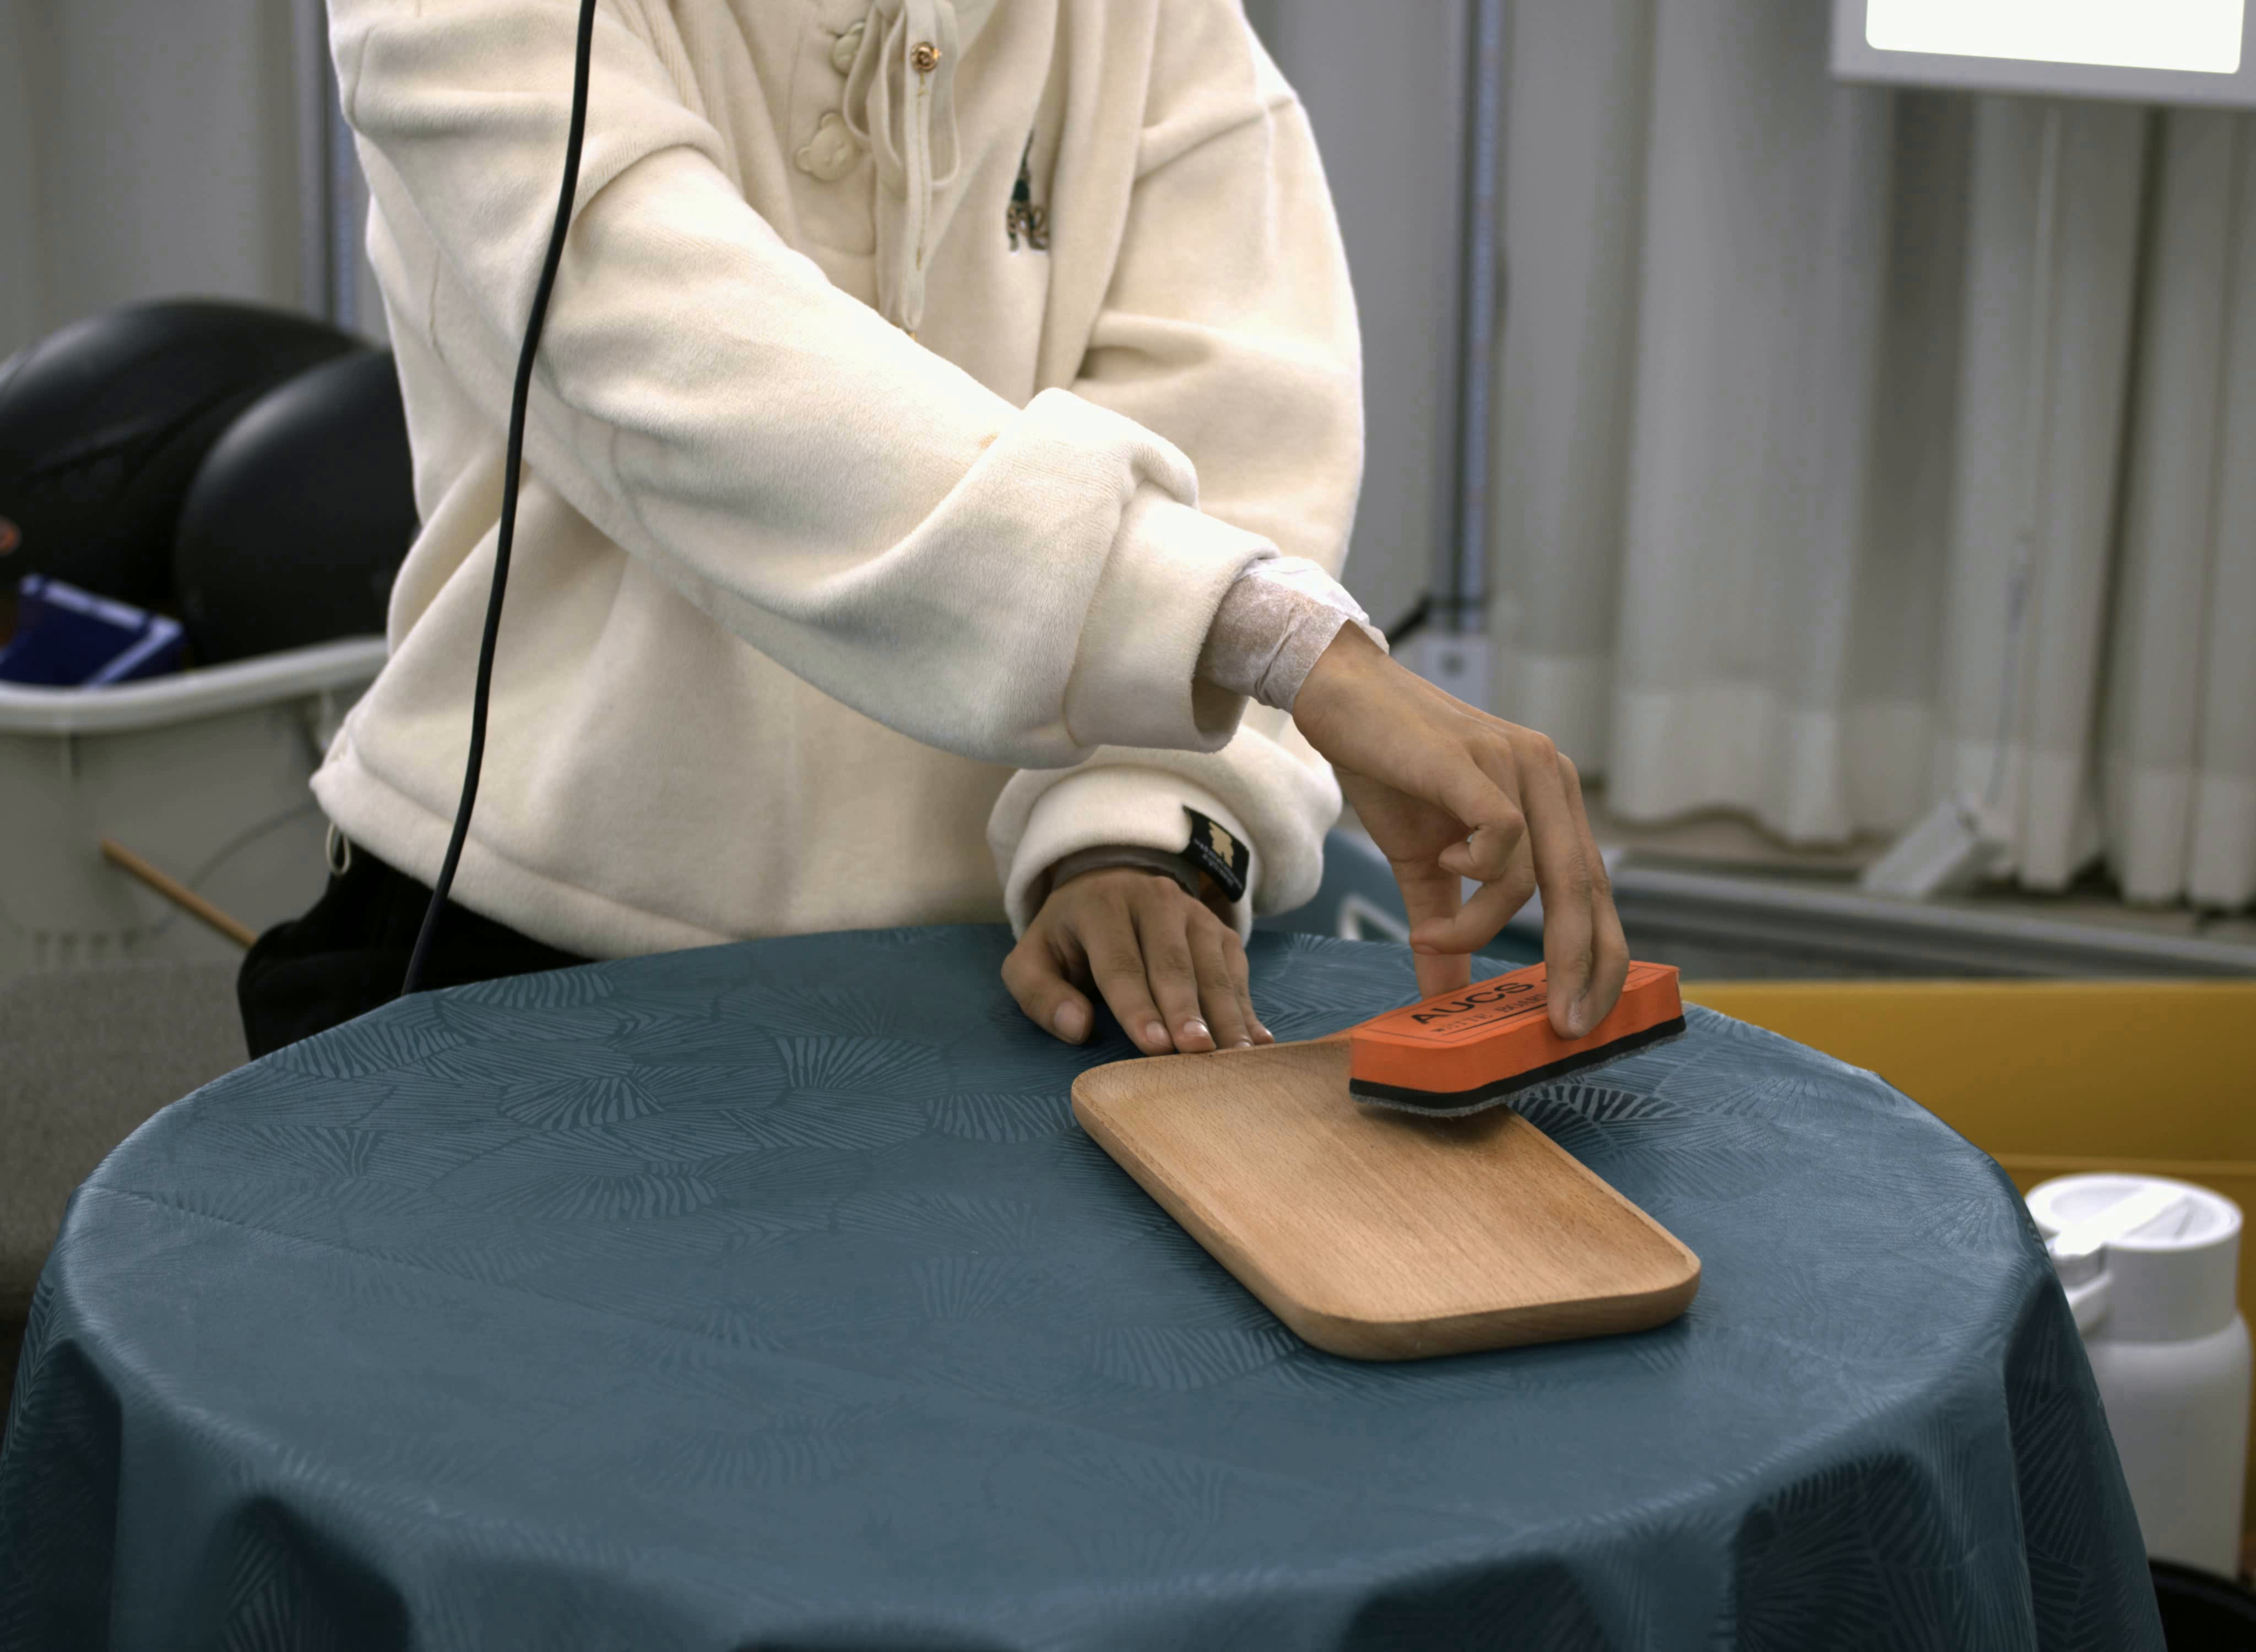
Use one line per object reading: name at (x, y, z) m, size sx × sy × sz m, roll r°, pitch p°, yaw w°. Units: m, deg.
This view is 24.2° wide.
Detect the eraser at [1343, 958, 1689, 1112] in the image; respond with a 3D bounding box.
eraser at (0.124, 0.066, 1.681) m, size 0.108 × 0.023 × 0.058 m, roll -15°, pitch 14°, yaw -37°

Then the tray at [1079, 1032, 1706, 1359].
tray at (0.075, 0.109, 1.601) m, size 0.131 × 0.023 × 0.248 m, roll -2°, pitch 15°, yaw -18°
